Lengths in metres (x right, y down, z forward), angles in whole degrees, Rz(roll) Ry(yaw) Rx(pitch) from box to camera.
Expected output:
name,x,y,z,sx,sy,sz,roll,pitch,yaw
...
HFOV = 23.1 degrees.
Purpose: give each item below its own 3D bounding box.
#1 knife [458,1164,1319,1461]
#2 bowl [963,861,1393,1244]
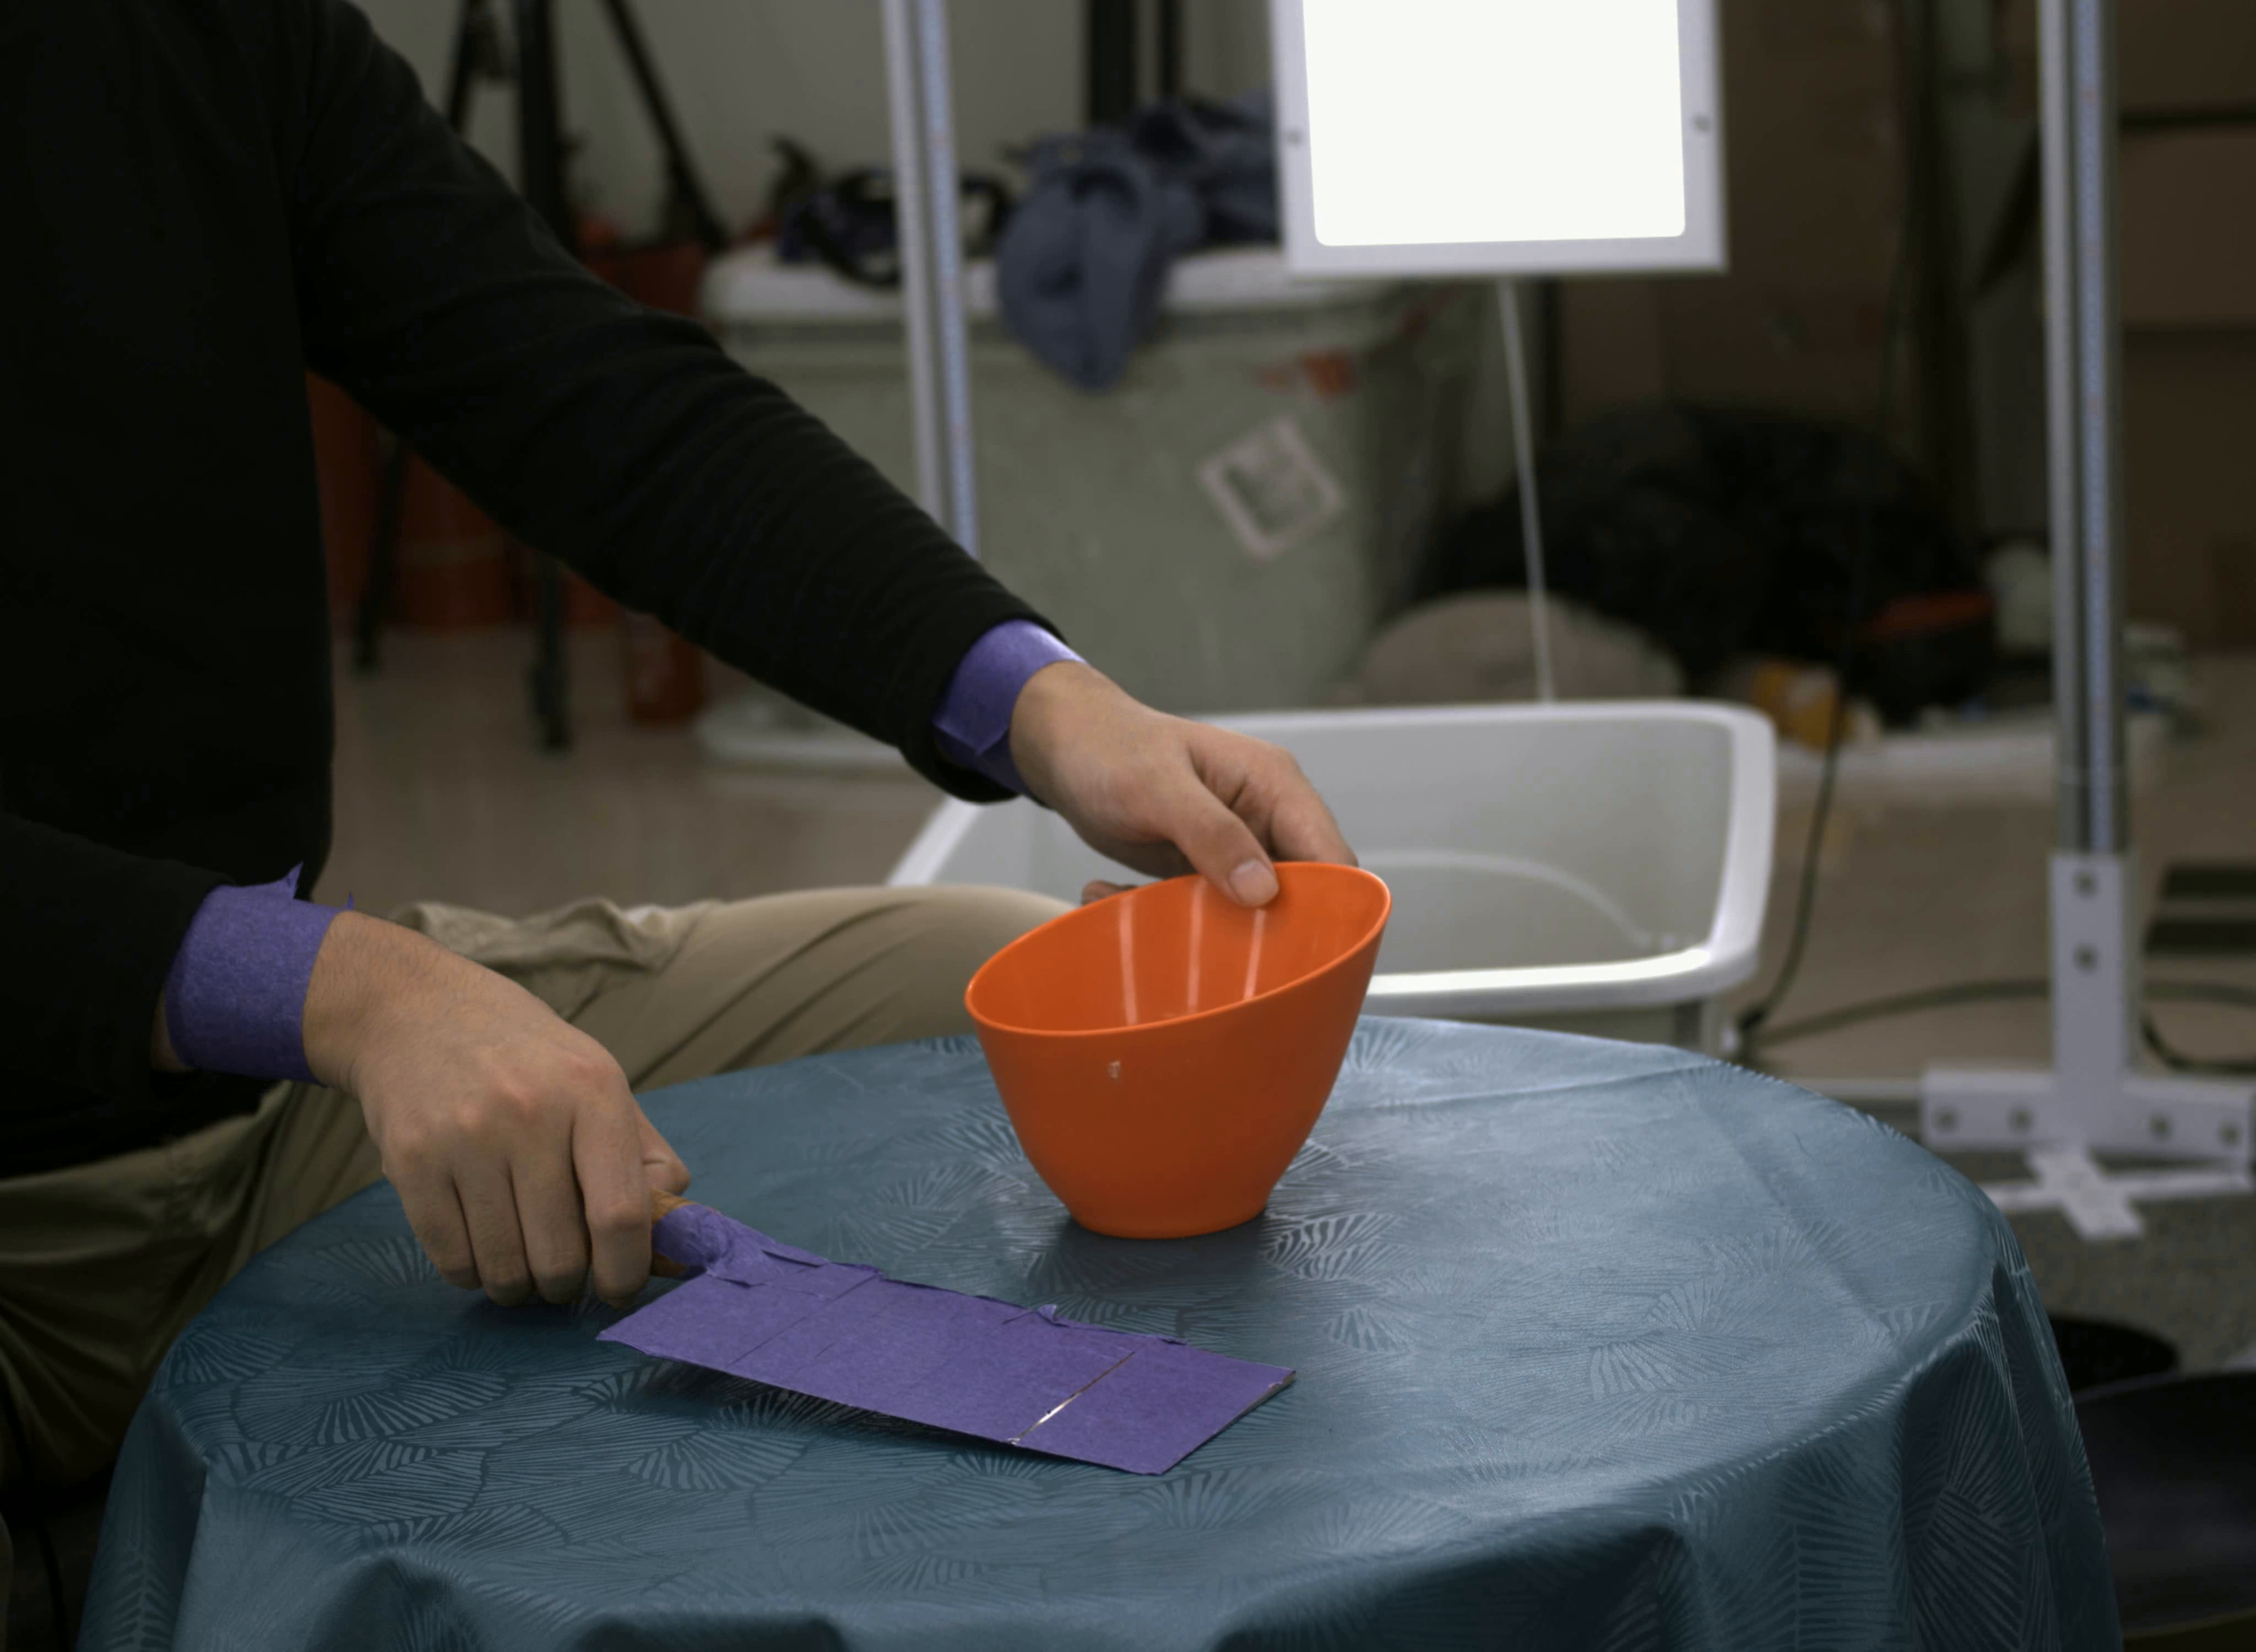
name,x,y,z,sx,sy,sz,roll,pitch,yaw
knife,-0.098,0.153,1.745,0.321,0.032,0.101,7,18,32
bowl,0.020,0.080,1.866,0.147,0.105,0.148,-5,16,0
